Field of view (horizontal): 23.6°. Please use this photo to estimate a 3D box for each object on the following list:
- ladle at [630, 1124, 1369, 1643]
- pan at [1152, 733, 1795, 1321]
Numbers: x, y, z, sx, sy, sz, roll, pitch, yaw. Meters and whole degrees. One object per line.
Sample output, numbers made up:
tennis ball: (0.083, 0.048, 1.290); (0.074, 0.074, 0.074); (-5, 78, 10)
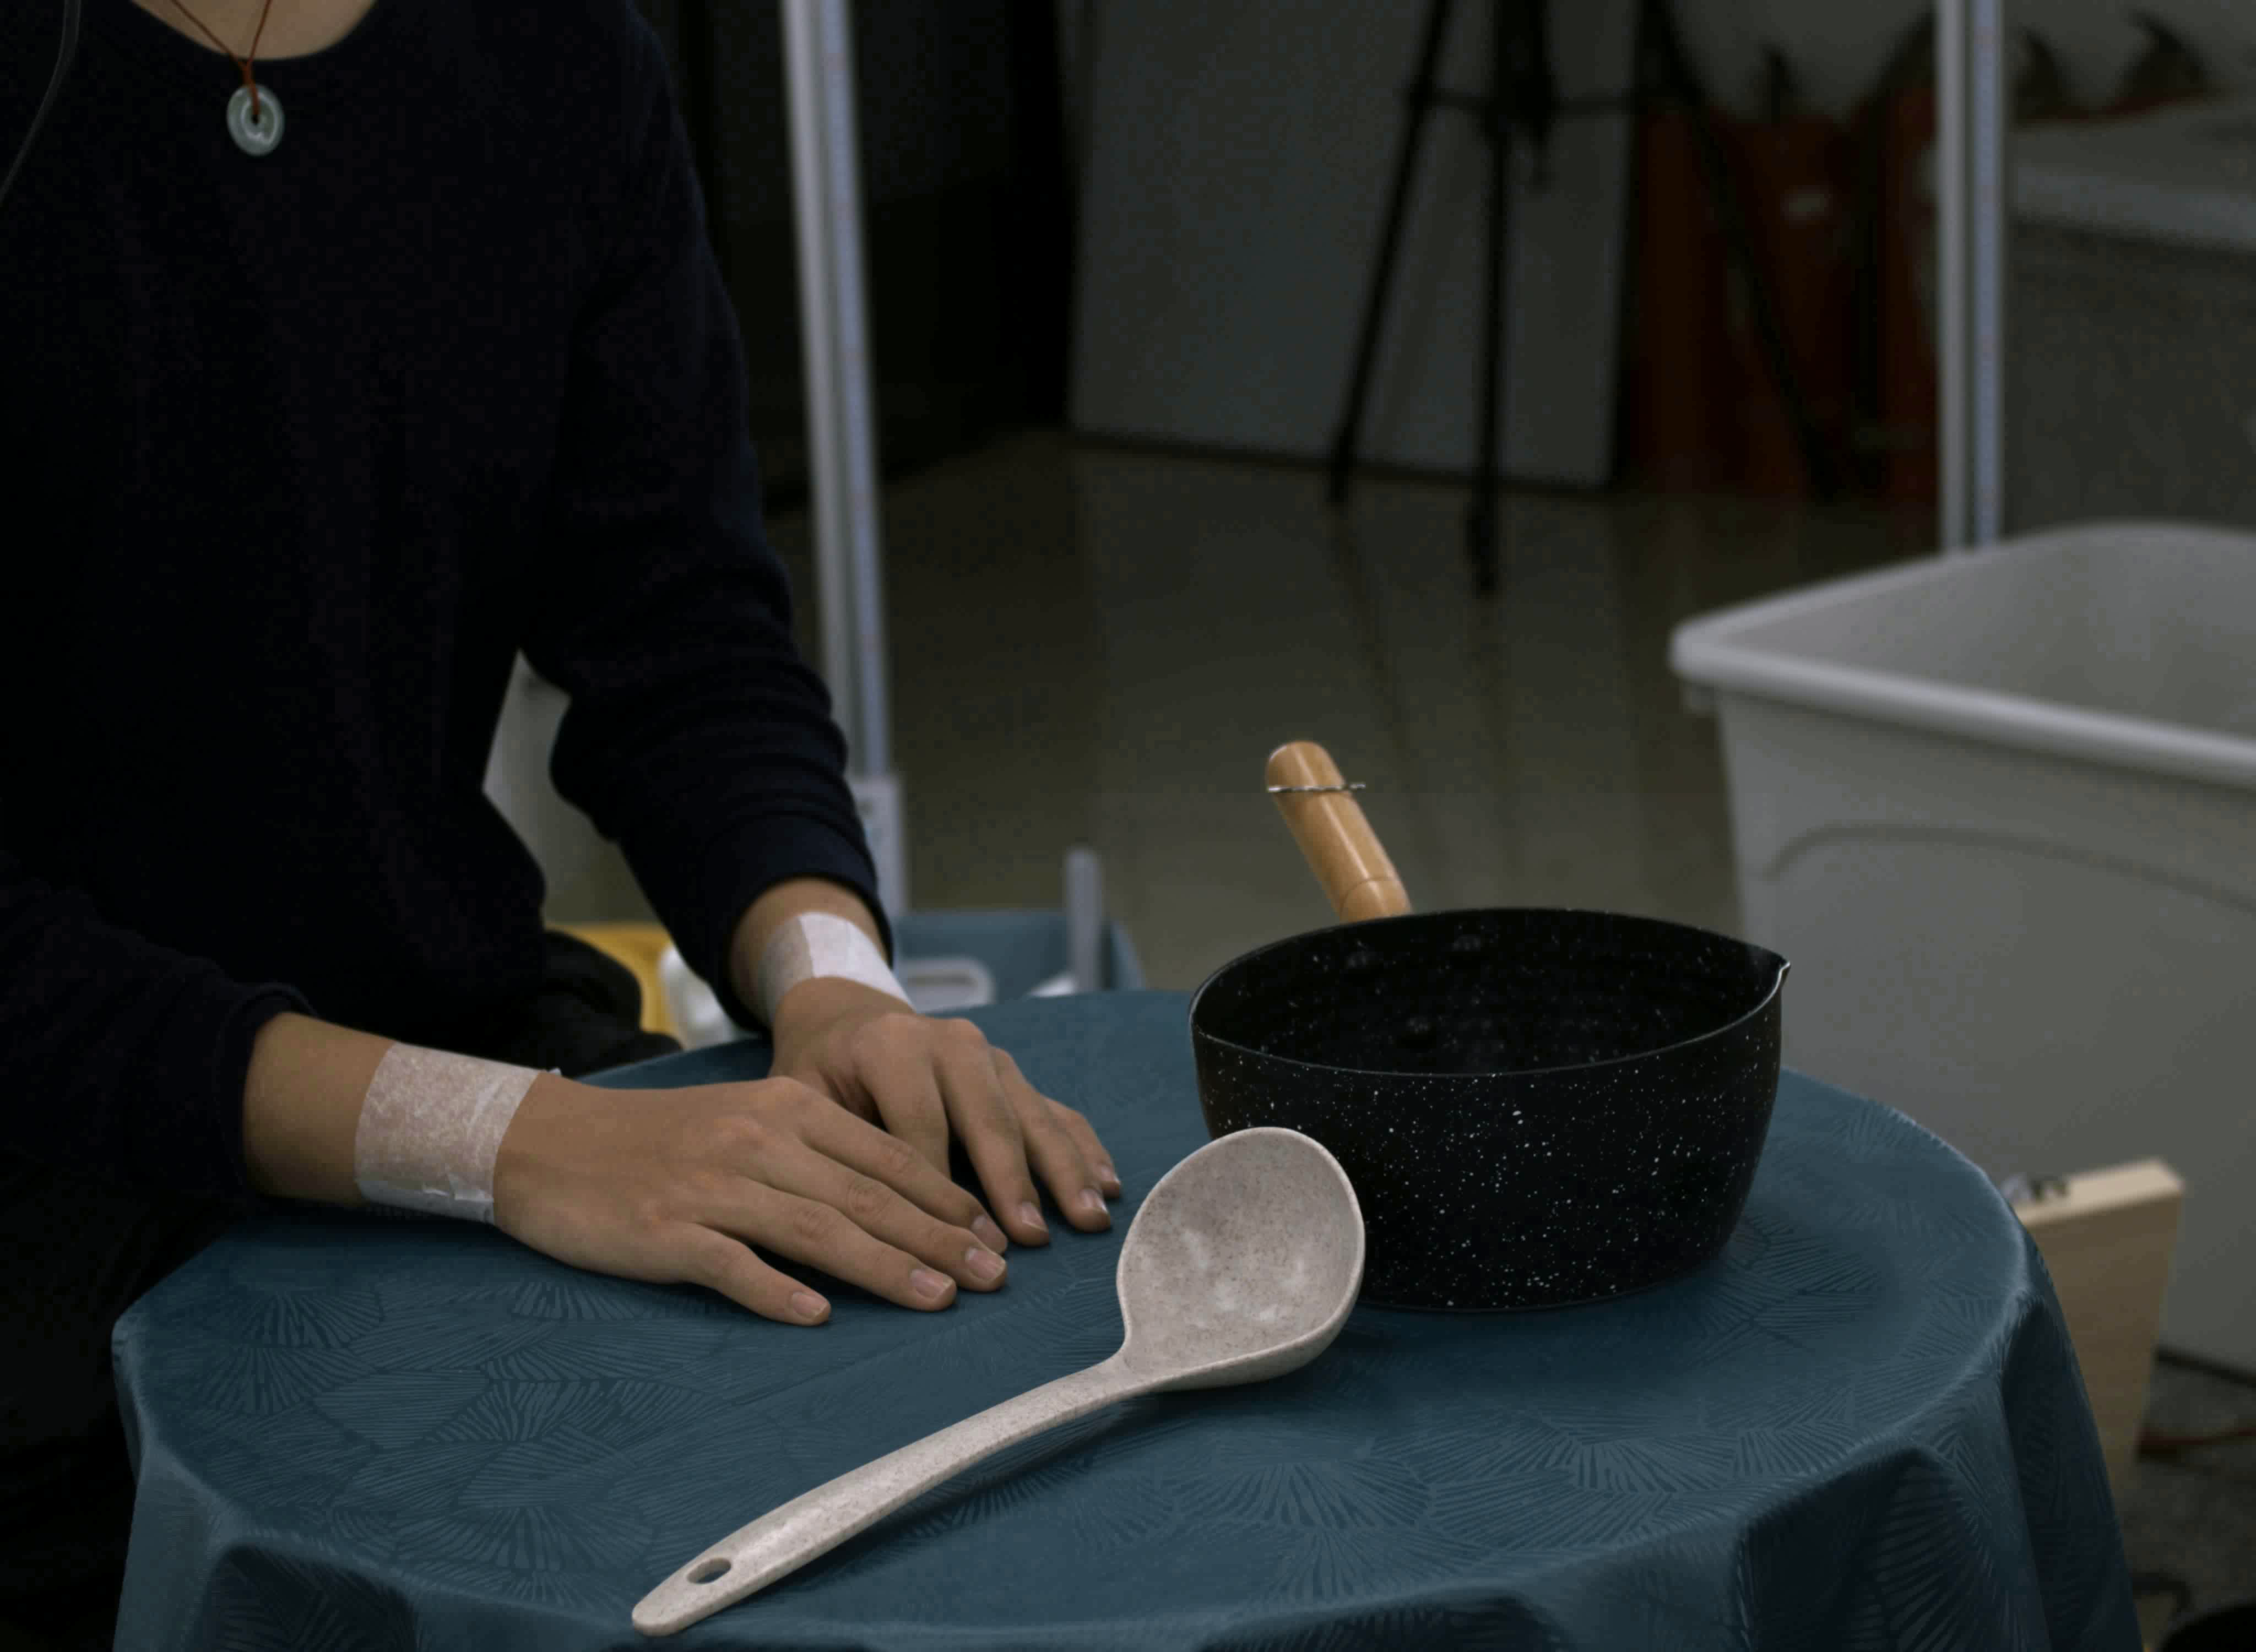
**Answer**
ladle: (-0.037, 0.152, 1.515); (0.090, 0.070, 0.269); (17, 25, 40)
pan: (0.095, 0.060, 1.762); (0.204, 0.109, 0.345); (-8, 16, -11)
